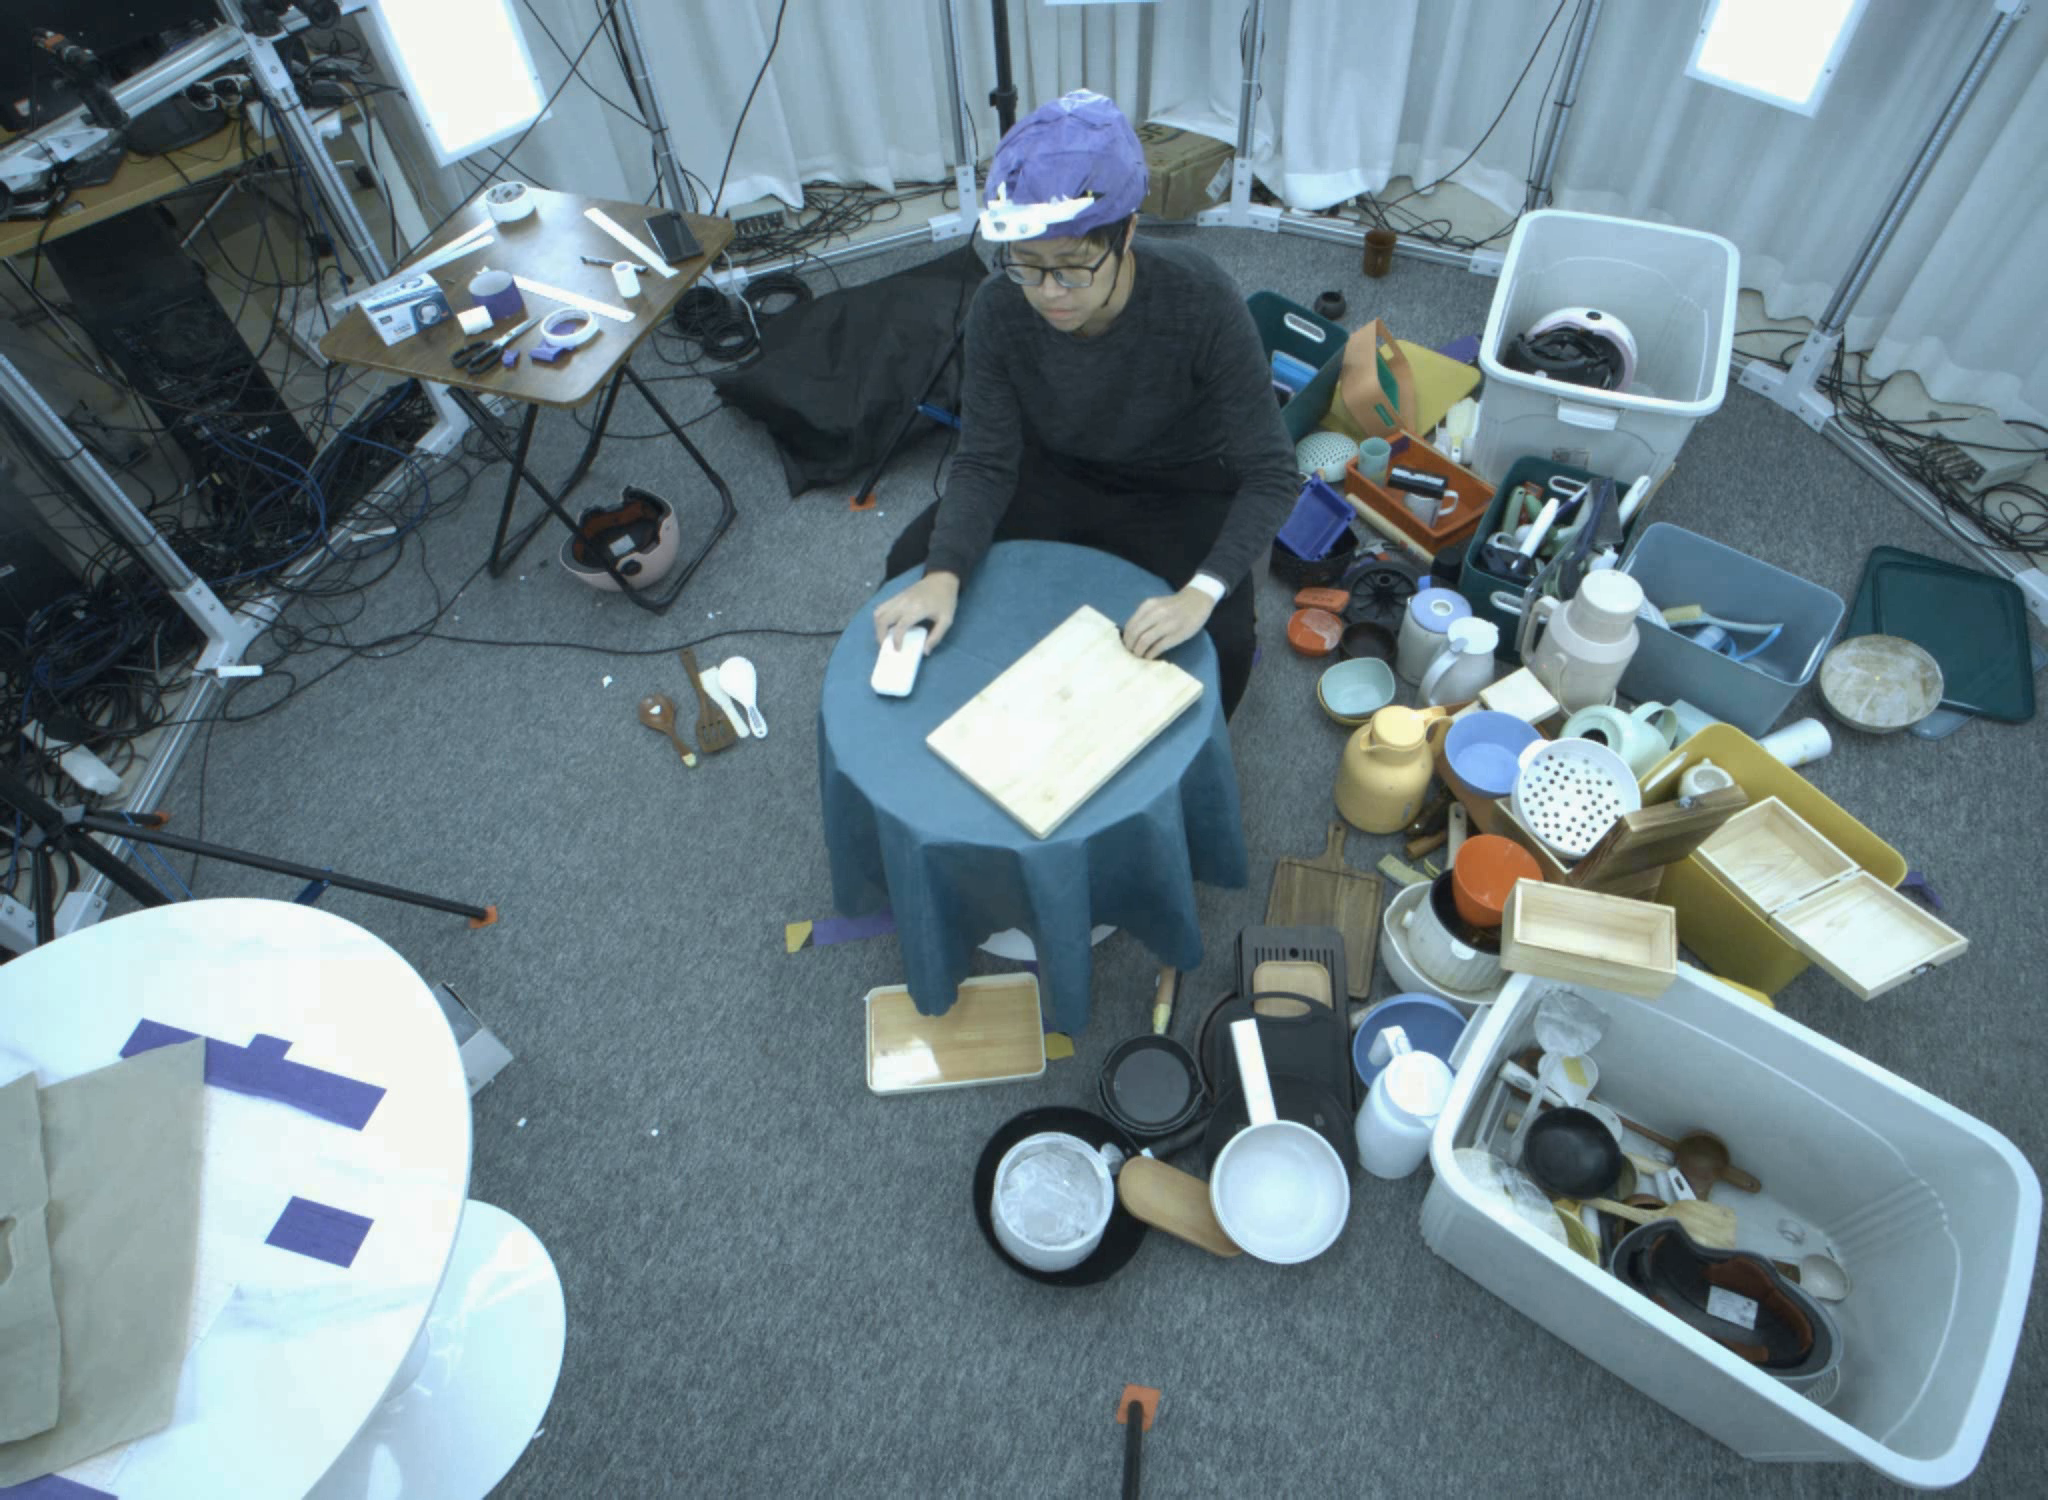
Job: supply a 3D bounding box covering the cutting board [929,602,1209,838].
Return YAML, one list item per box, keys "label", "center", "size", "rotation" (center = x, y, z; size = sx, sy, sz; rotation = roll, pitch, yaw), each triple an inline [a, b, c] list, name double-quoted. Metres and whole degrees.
- label: "cutting board"
  center: [0.065, -0.054, 1.802]
  size: [0.246, 0.024, 0.350]
  rotation: [38, 67, 24]

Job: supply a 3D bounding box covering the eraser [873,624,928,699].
- label: "eraser"
  center: [-0.187, -0.138, 1.872]
  size: [0.063, 0.035, 0.130]
  rotation: [7, 57, 10]
